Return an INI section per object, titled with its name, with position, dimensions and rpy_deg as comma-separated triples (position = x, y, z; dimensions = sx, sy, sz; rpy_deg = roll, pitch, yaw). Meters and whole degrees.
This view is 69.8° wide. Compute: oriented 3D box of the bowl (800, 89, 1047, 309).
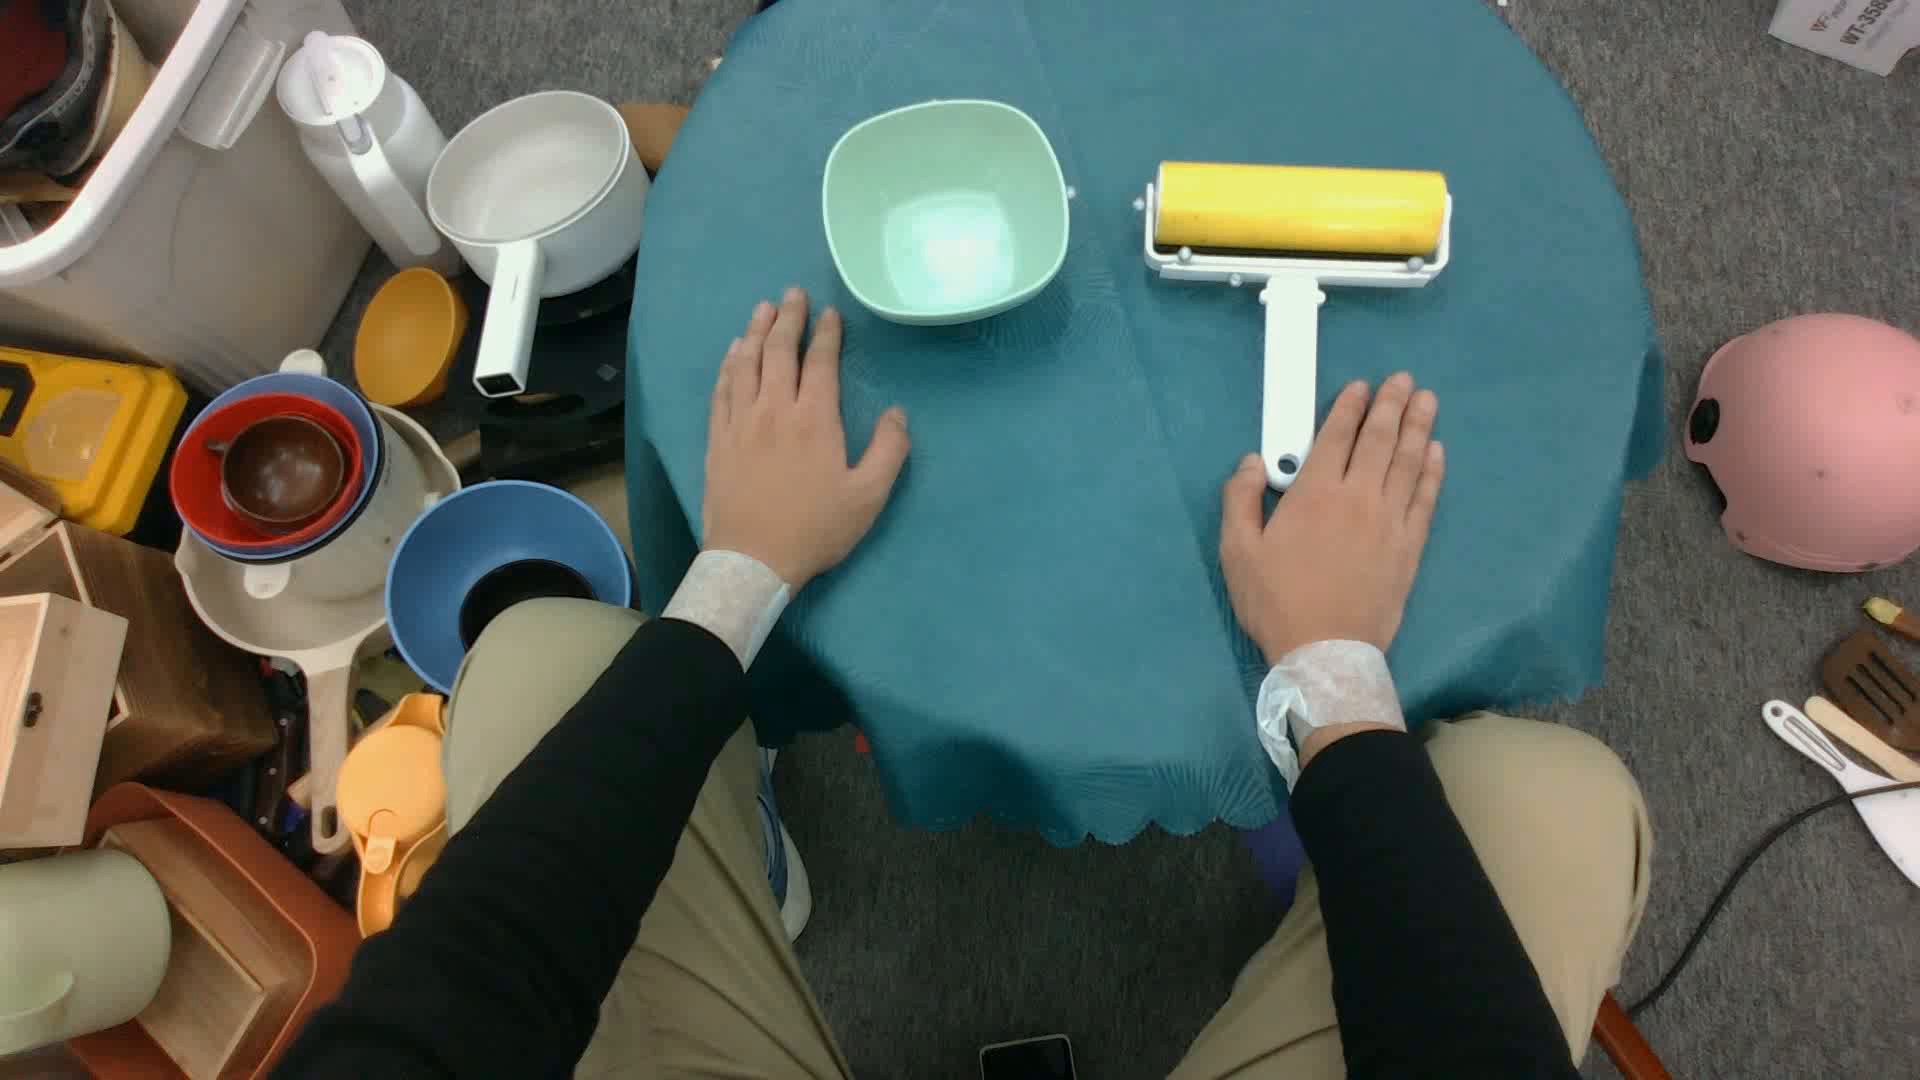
[bowl]
position = -0.021, -0.188, 0.804
dimensions = 0.151, 0.058, 0.152
rpy_deg = 0, 69, 1

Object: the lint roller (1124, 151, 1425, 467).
[lint roller]
position = 0.182, -0.138, 0.786
dimensions = 0.174, 0.051, 0.192
rpy_deg = 1, 66, 2
